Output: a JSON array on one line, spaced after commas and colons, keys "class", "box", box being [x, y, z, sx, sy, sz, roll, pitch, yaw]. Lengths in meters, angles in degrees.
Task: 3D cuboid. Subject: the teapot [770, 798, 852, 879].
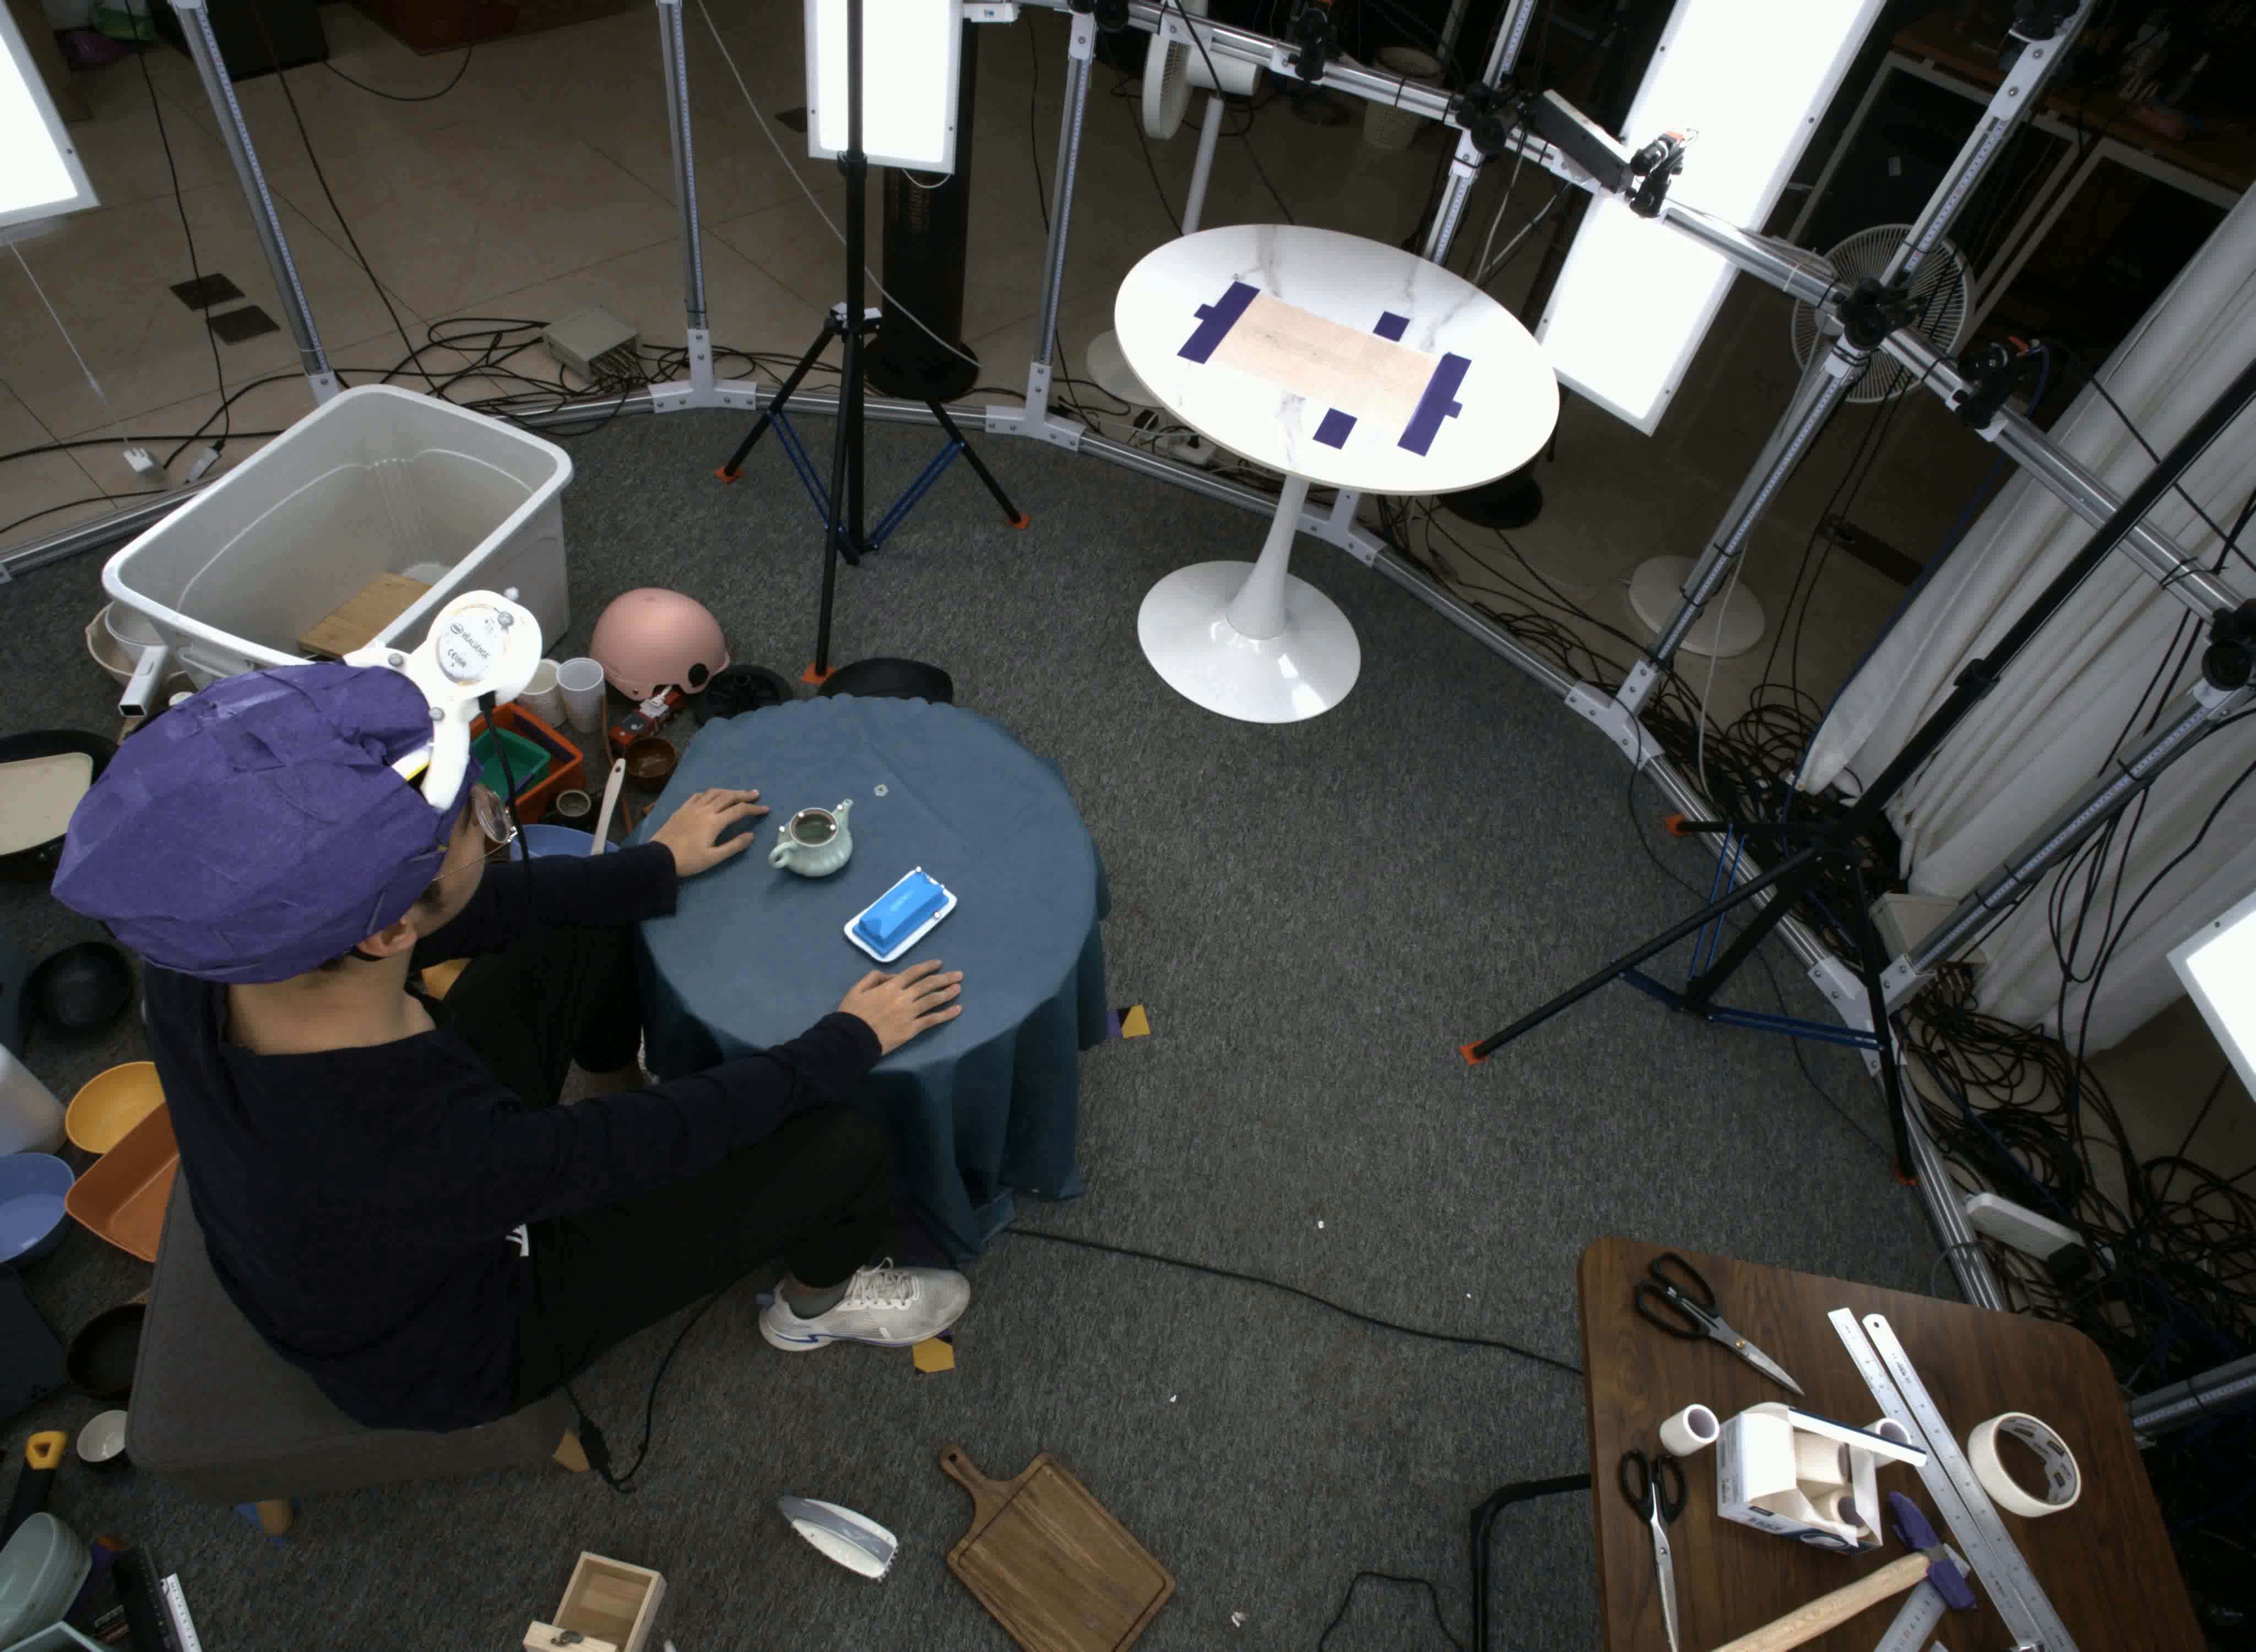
[{"class": "teapot", "box": [-0.410, 0.019, 1.676, 0.094, 0.062, 0.137, 39, 54, 14]}]

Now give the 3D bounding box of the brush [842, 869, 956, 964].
[{"class": "brush", "box": [-0.289, 0.105, 1.642, 0.082, 0.057, 0.144, 36, 52, 19]}]
